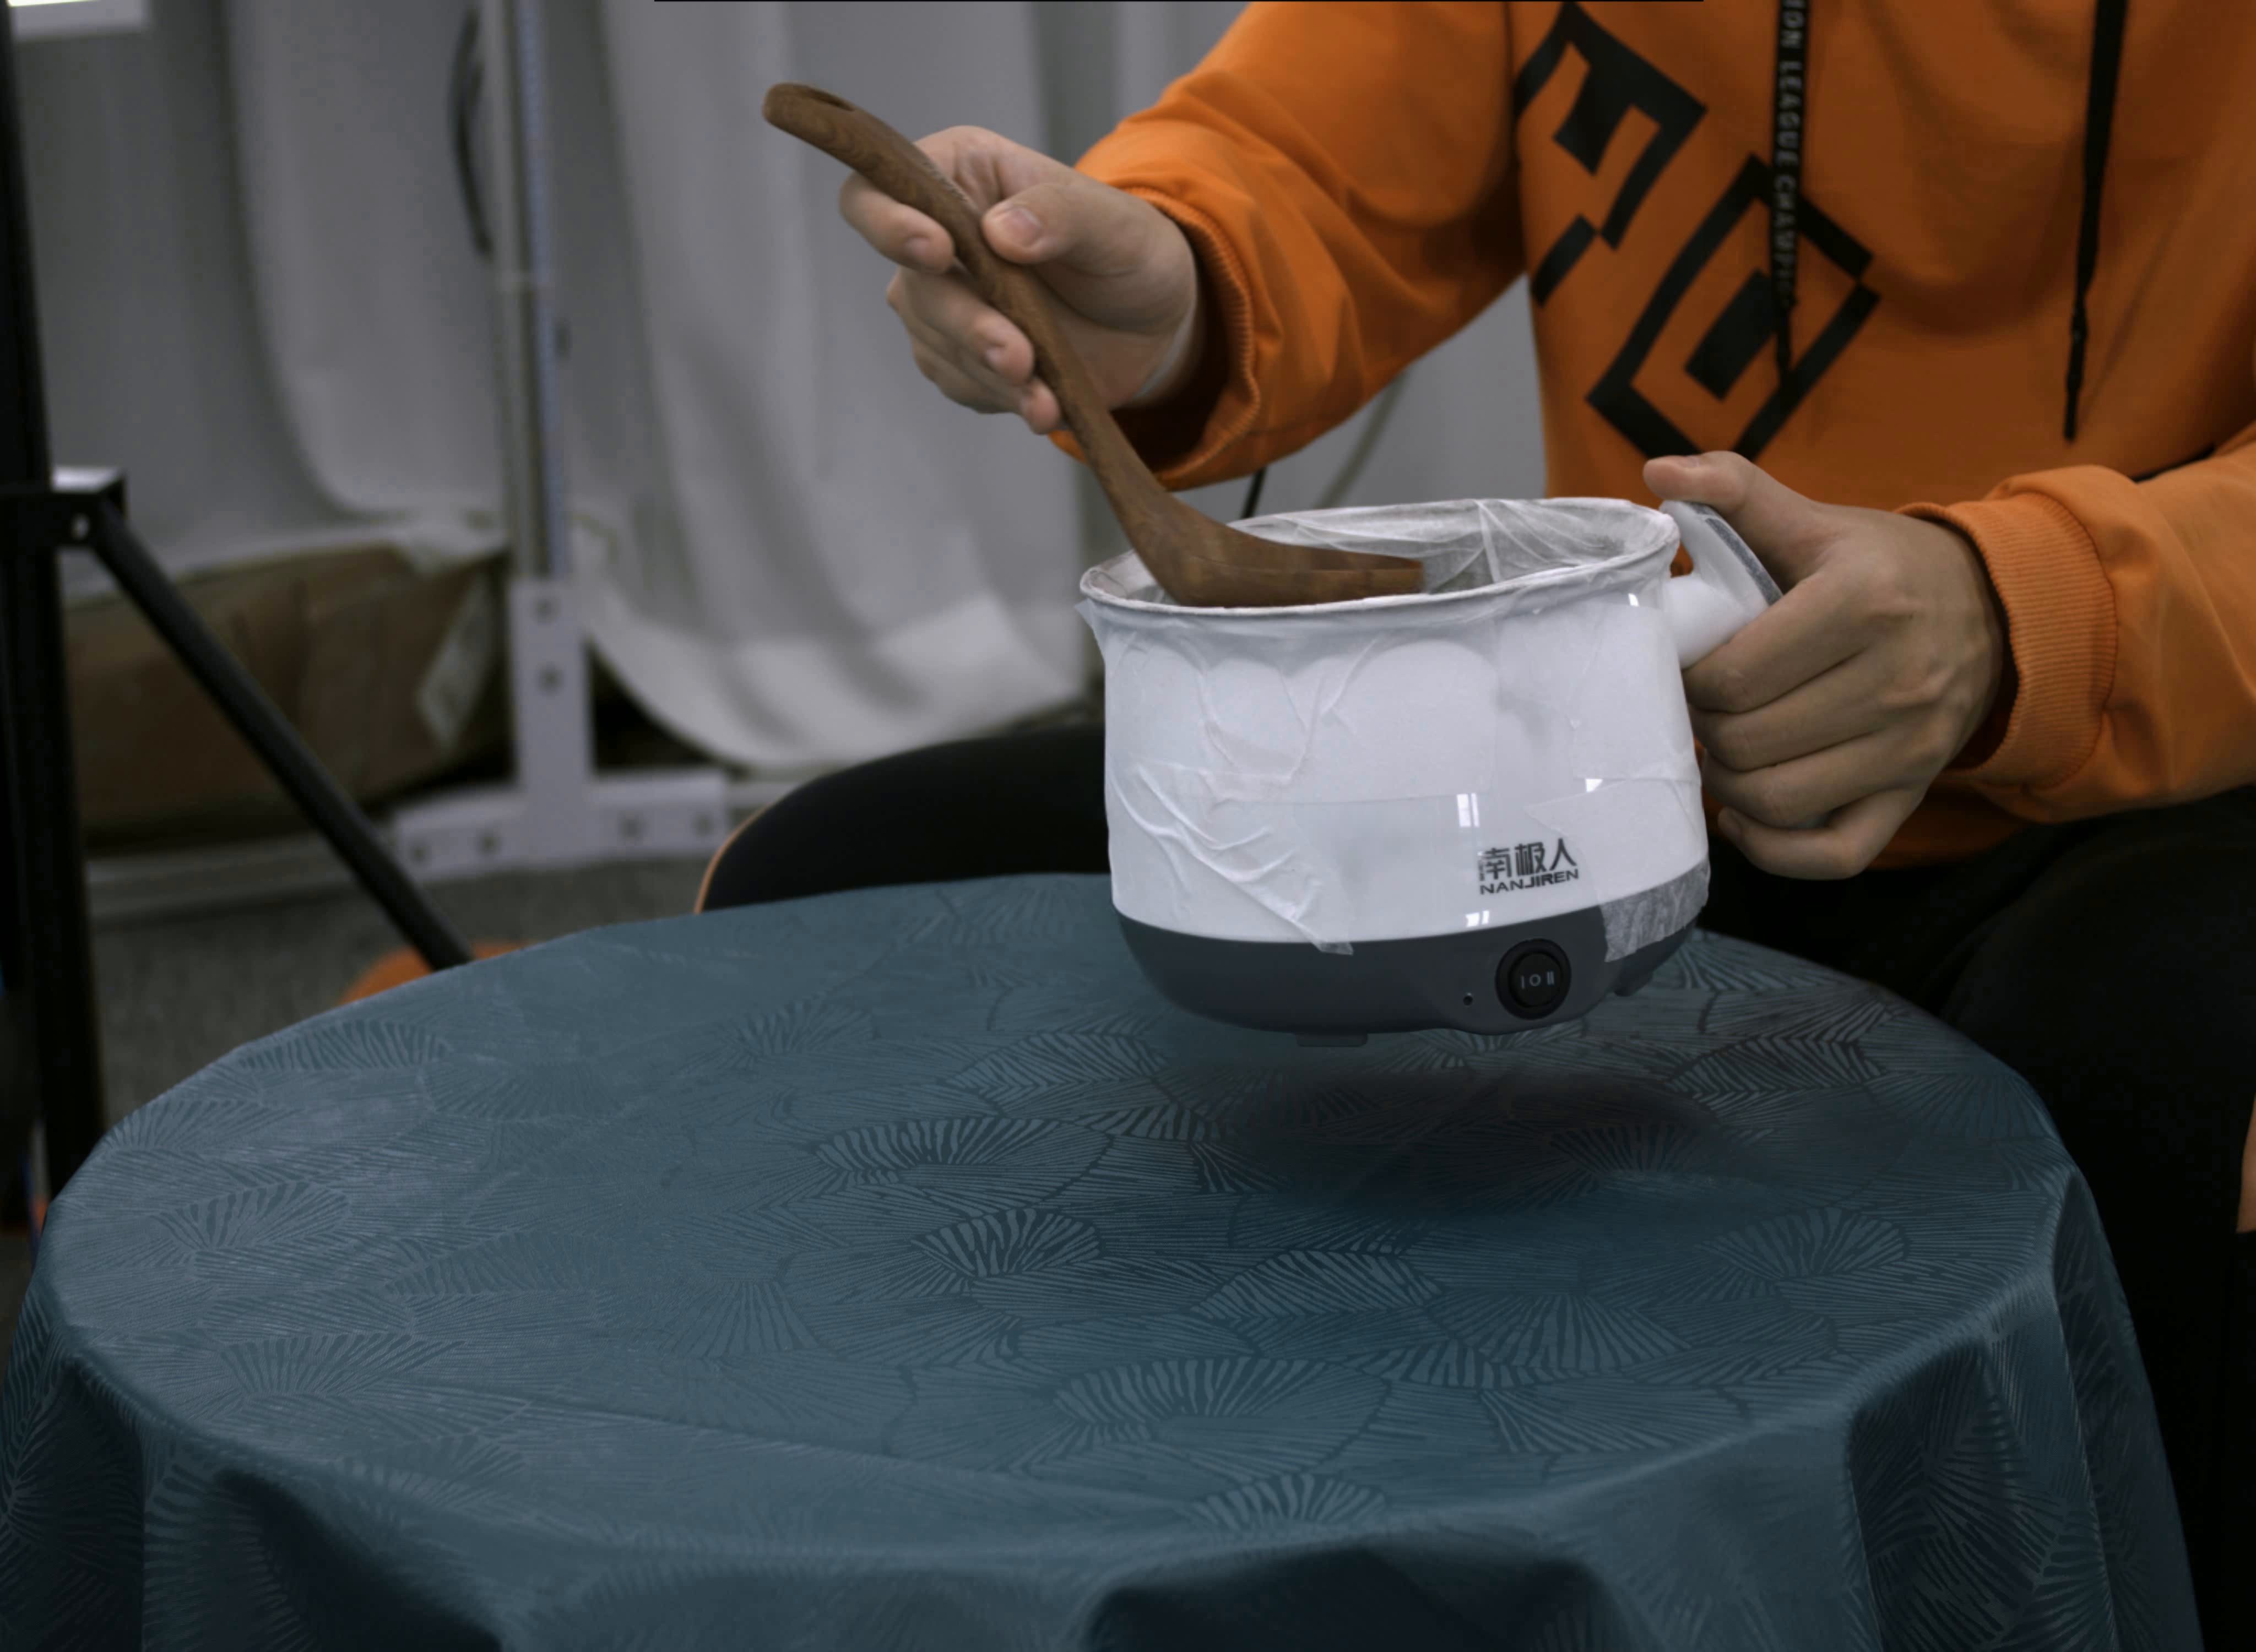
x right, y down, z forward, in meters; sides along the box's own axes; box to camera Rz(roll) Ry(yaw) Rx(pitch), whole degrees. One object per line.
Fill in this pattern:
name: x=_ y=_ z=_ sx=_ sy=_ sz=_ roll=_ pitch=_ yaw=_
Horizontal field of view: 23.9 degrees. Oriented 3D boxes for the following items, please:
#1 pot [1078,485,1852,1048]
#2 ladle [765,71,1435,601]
pot: x=0.105 y=-0.023 z=1.577 sx=0.229 sy=0.136 sz=0.182 roll=-10 pitch=13 yaw=-19
ladle: x=-0.009 y=-0.144 z=1.563 sx=0.263 sy=0.065 sz=0.075 roll=51 pitch=21 yaw=17
